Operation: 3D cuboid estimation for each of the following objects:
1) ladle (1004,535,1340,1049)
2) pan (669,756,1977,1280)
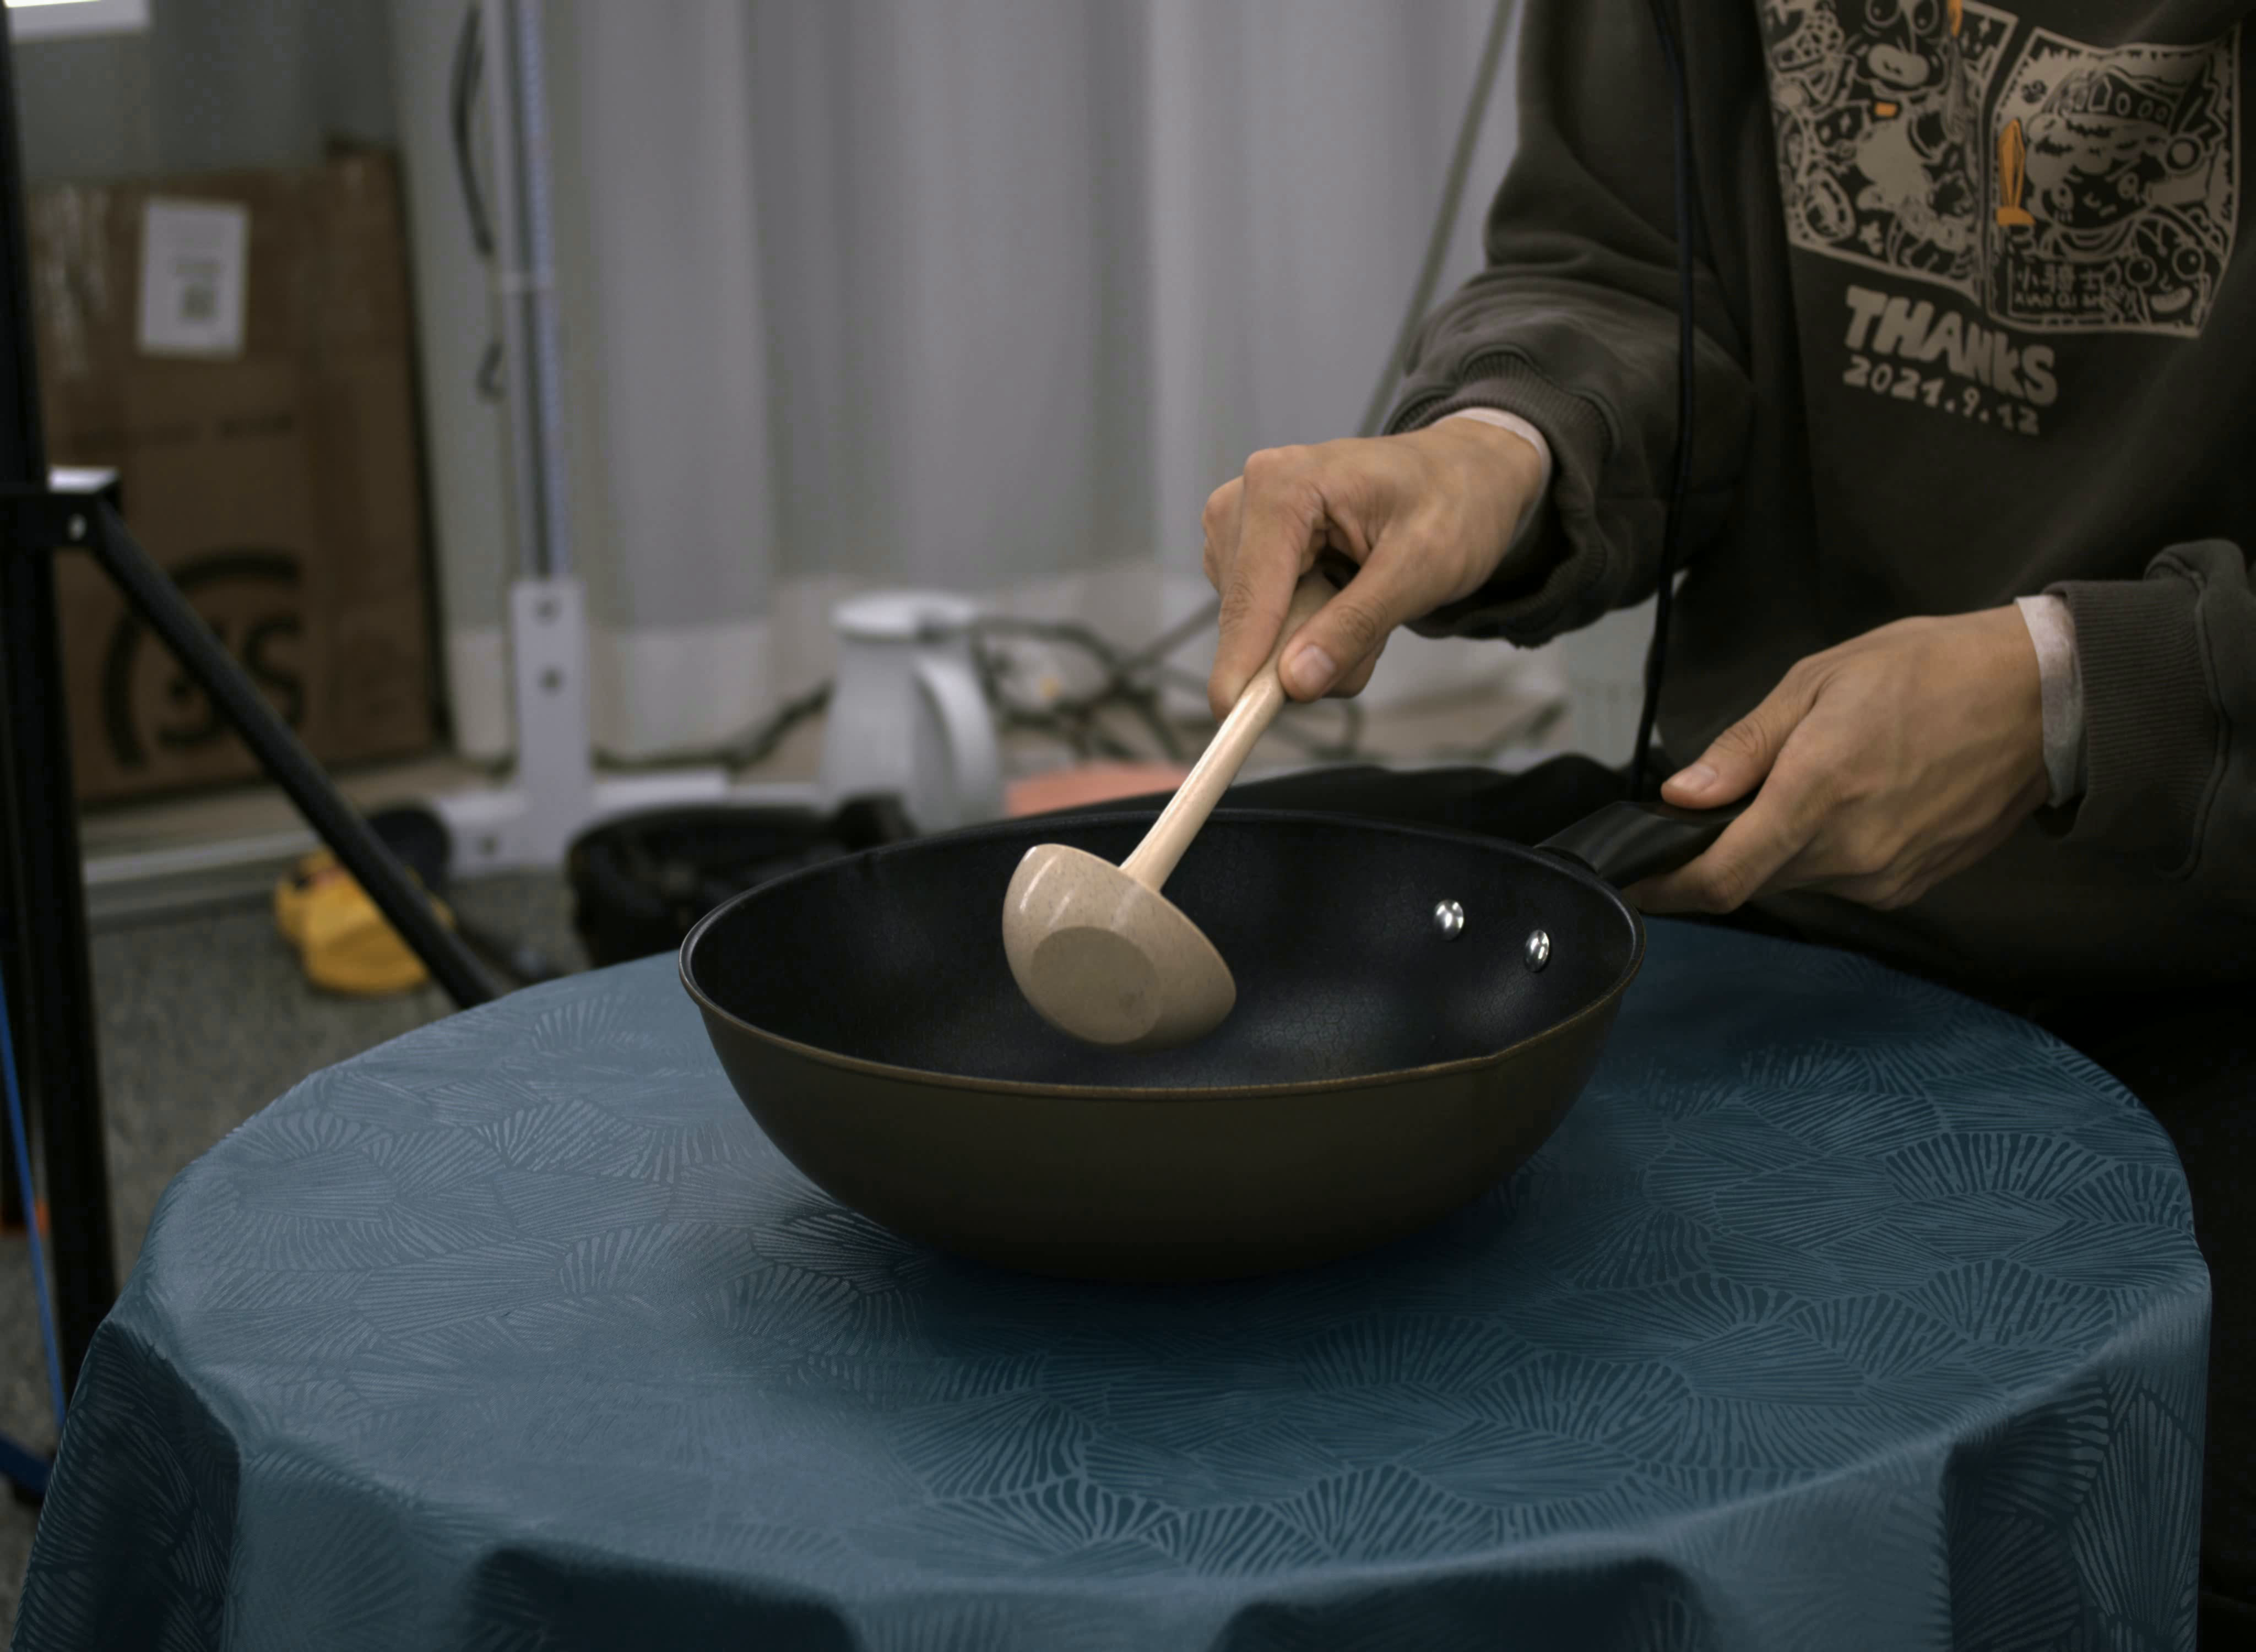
[{"bbox_3d":[0.034,-0.031,1.559,0.072,0.073,0.253,34,44,-4],"label":"ladle"},{"bbox_3d":[0.080,0.052,1.596,0.452,0.087,0.295,-12,18,-35],"label":"pan"}]
